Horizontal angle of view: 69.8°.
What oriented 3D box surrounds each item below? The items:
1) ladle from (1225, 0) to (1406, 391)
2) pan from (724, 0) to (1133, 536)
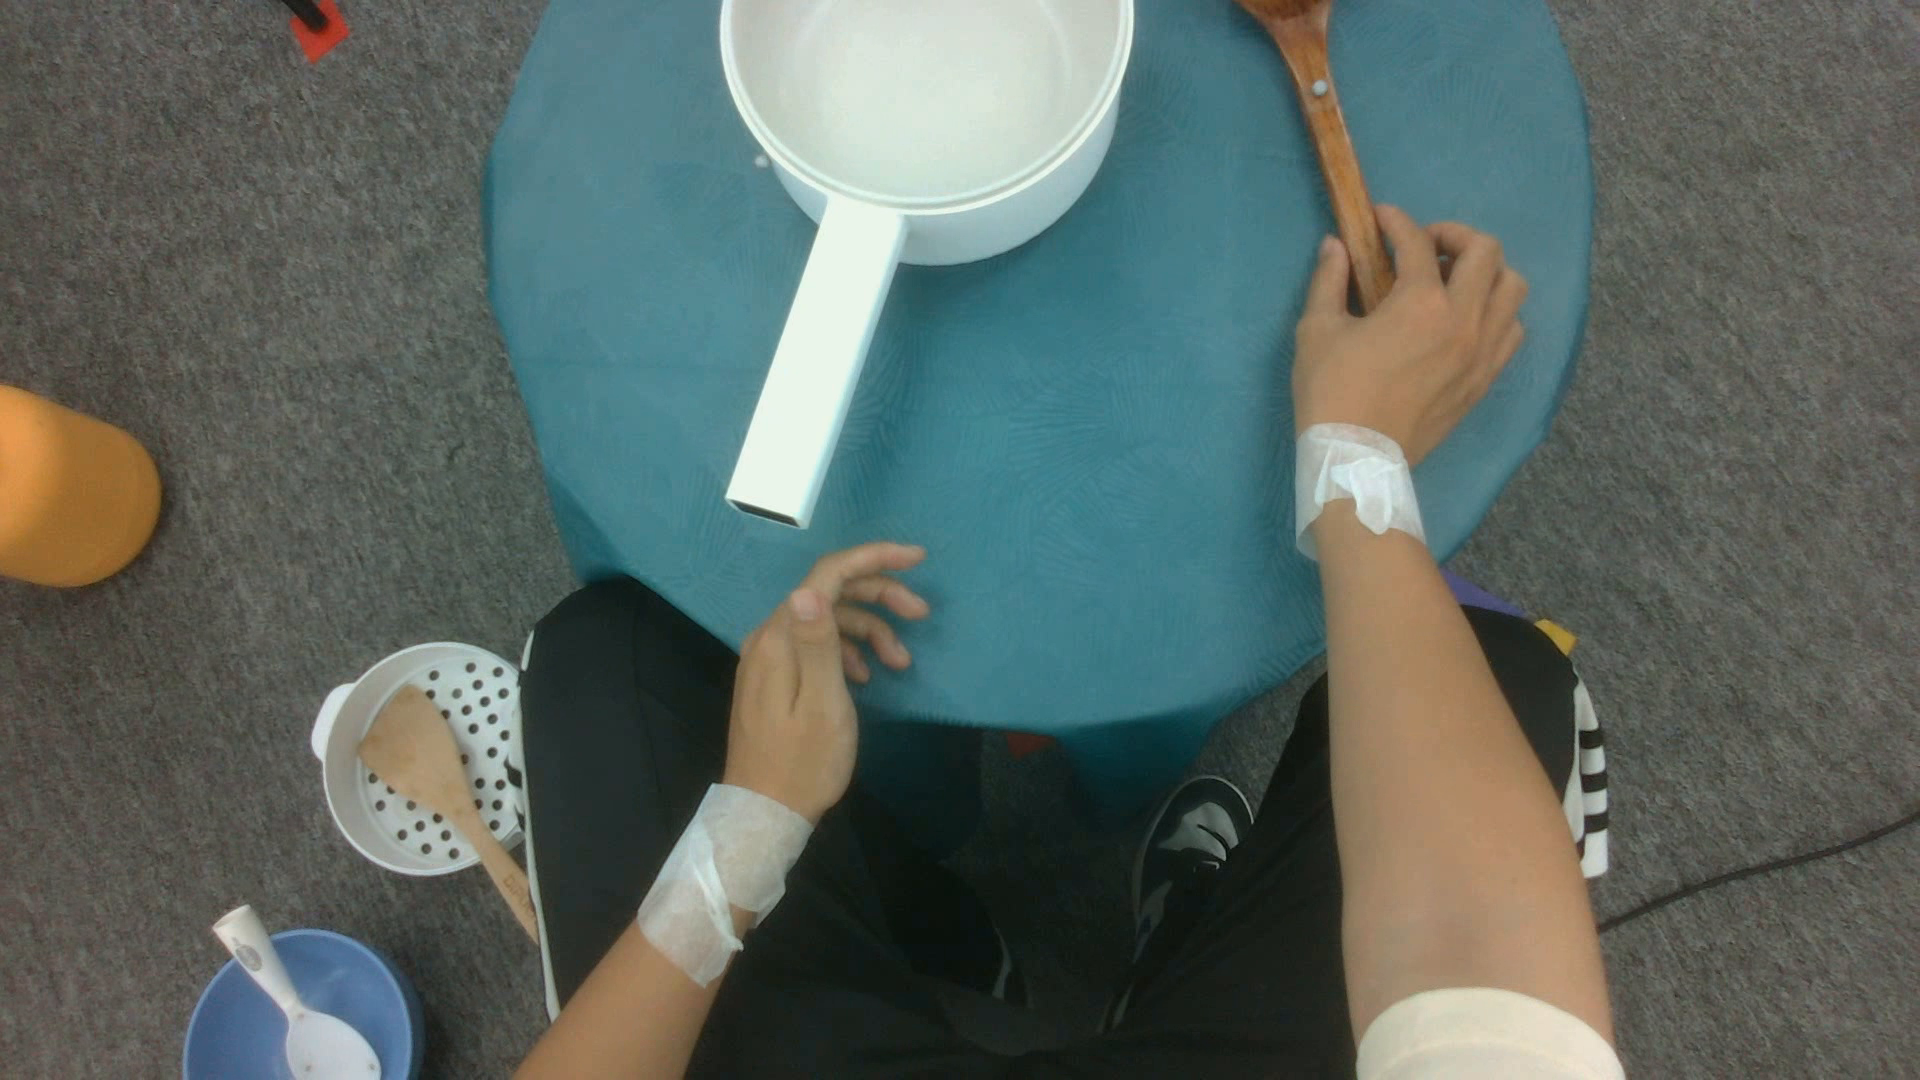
[{"bbox_3d":[0.196,-0.217,0.720,0.082,0.076,0.274,-13,77,10],"label":"ladle"},{"bbox_3d":[-0.034,-0.168,0.718,0.201,0.102,0.355,17,81,7],"label":"pan"}]
